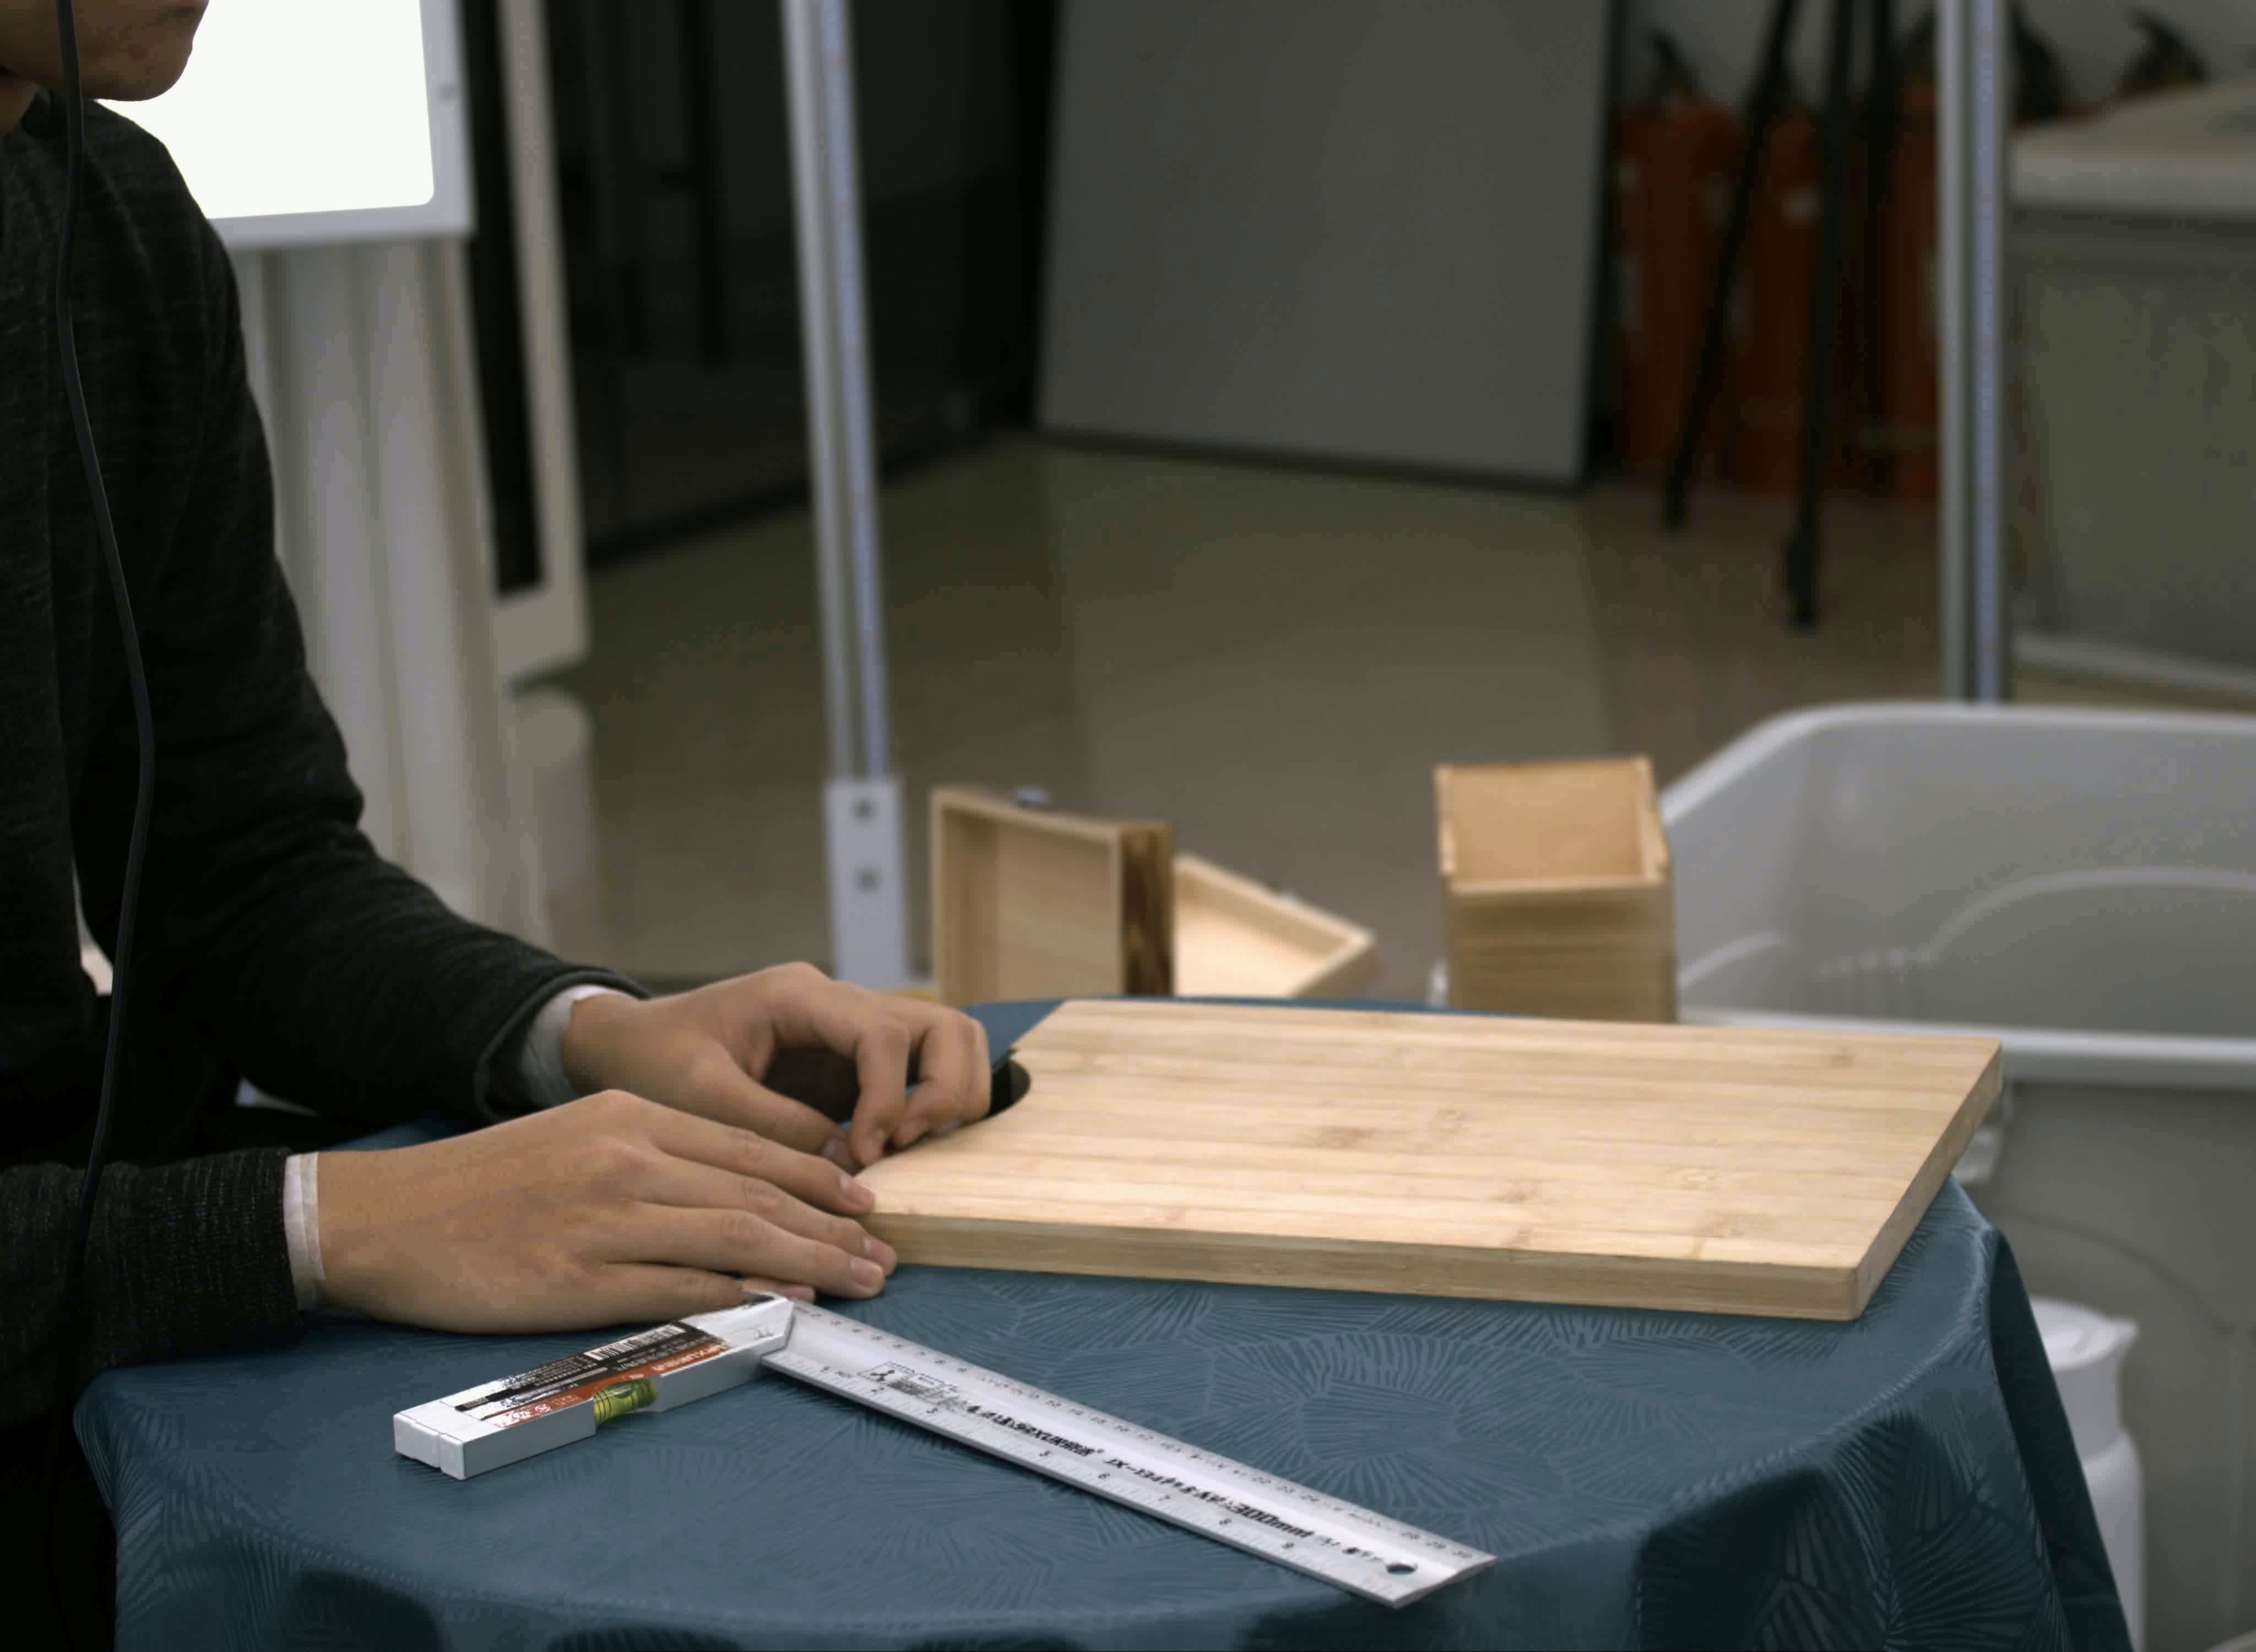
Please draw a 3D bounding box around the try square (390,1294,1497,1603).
[{"bbox_3d":[-0.058,0.187,1.506,0.149,0.016,0.316,-16,19,-38],"label":"try square"}]

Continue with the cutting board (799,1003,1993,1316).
[{"bbox_3d":[0.094,0.106,1.770,0.348,0.024,0.248,1,14,20],"label":"cutting board"}]
